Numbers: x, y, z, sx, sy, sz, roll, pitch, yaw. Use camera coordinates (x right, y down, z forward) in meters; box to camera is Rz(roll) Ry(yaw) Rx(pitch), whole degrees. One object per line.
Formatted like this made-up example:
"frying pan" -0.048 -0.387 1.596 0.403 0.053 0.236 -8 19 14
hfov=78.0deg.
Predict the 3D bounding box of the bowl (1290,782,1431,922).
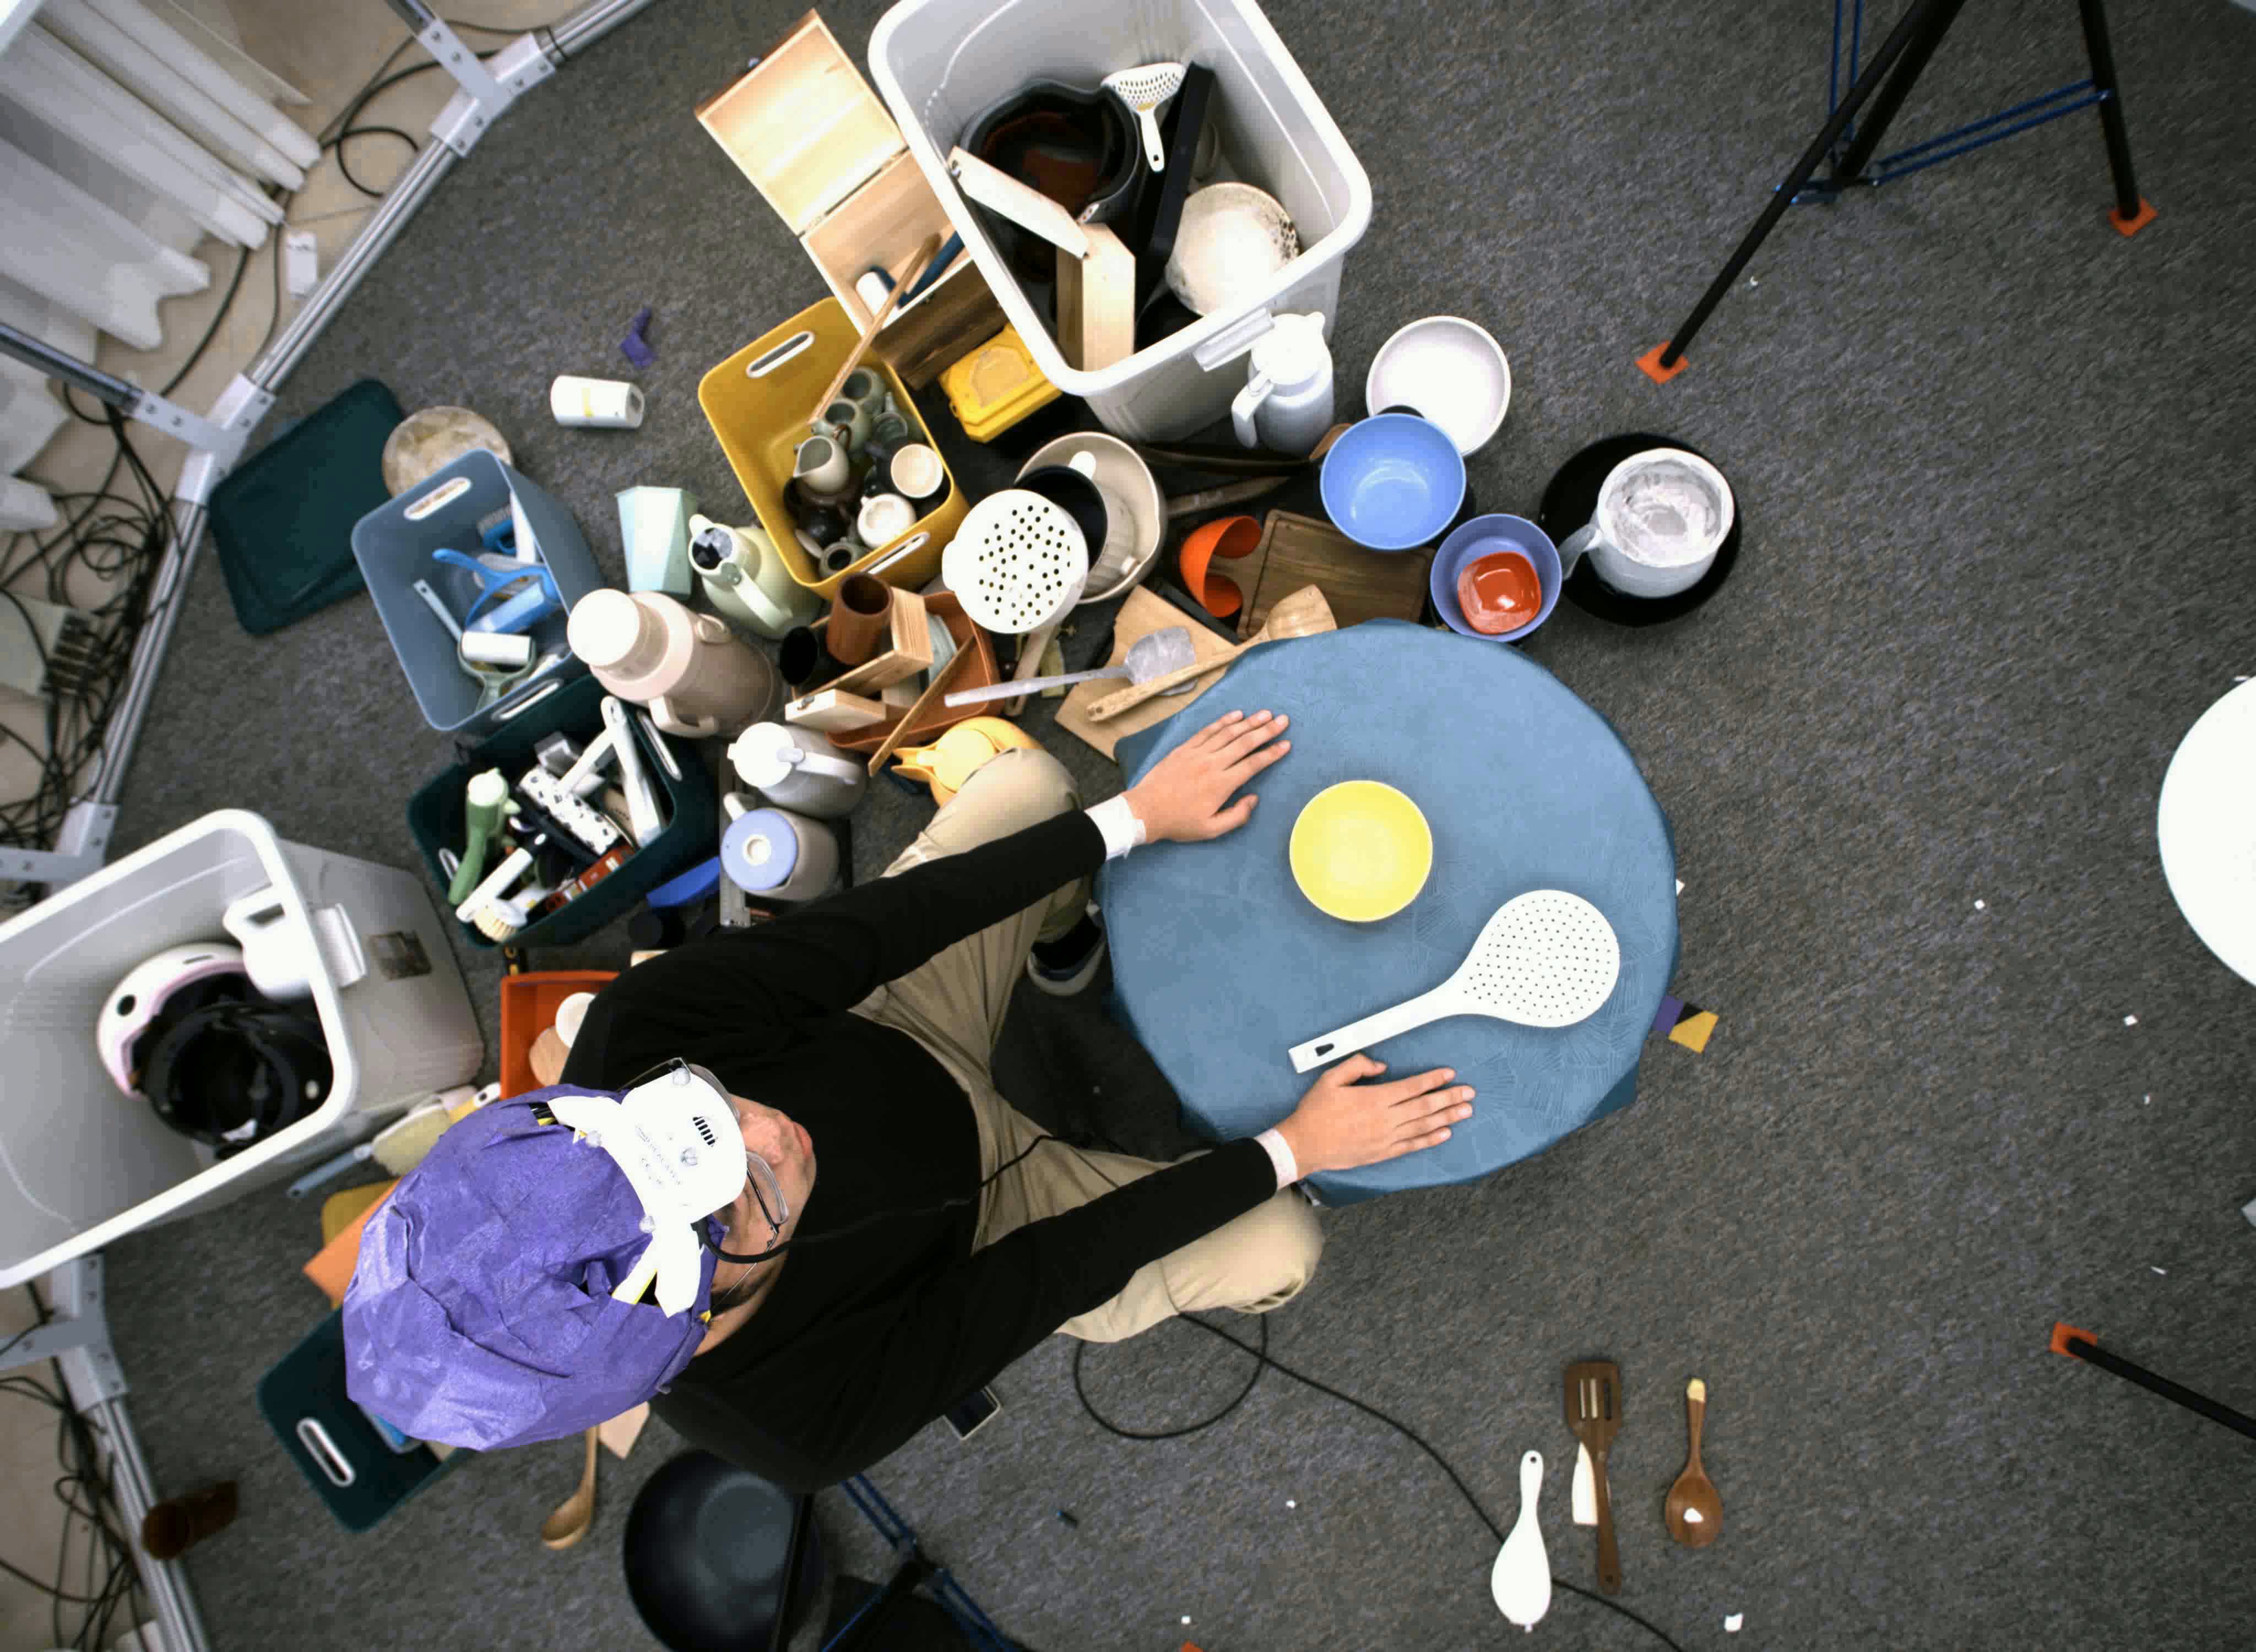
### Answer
"bowl" 0.242 0.029 1.439 0.146 0.060 0.144 -1 84 10

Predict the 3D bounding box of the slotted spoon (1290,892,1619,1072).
"slotted spoon" 0.330 0.177 1.420 0.352 0.046 0.135 -24 82 9
